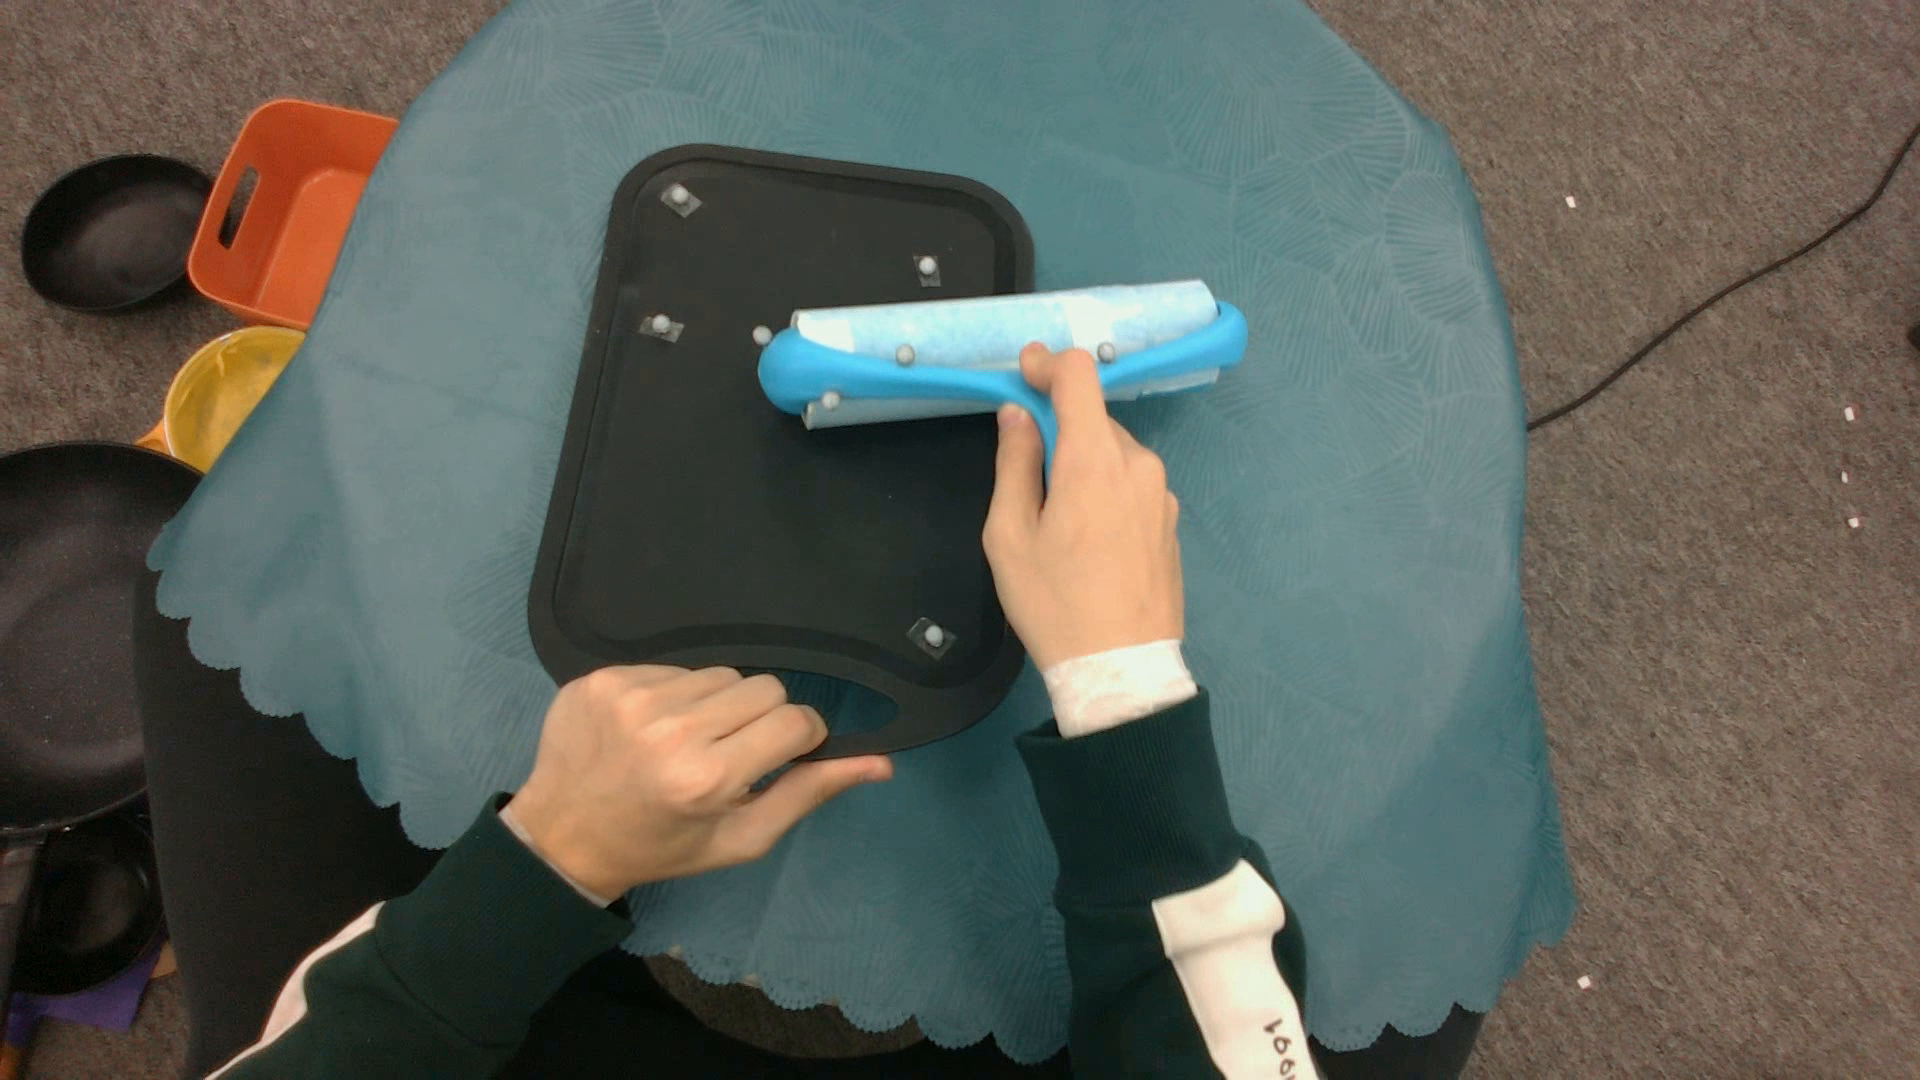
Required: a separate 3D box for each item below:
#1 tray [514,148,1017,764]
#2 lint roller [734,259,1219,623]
[{"bbox_3d":[-0.078,-0.054,0.627,0.211,0.010,0.326,4,60,-6],"label":"tray"},{"bbox_3d":[0.028,-0.052,0.601,0.229,0.067,0.181,-9,49,-17],"label":"lint roller"}]
